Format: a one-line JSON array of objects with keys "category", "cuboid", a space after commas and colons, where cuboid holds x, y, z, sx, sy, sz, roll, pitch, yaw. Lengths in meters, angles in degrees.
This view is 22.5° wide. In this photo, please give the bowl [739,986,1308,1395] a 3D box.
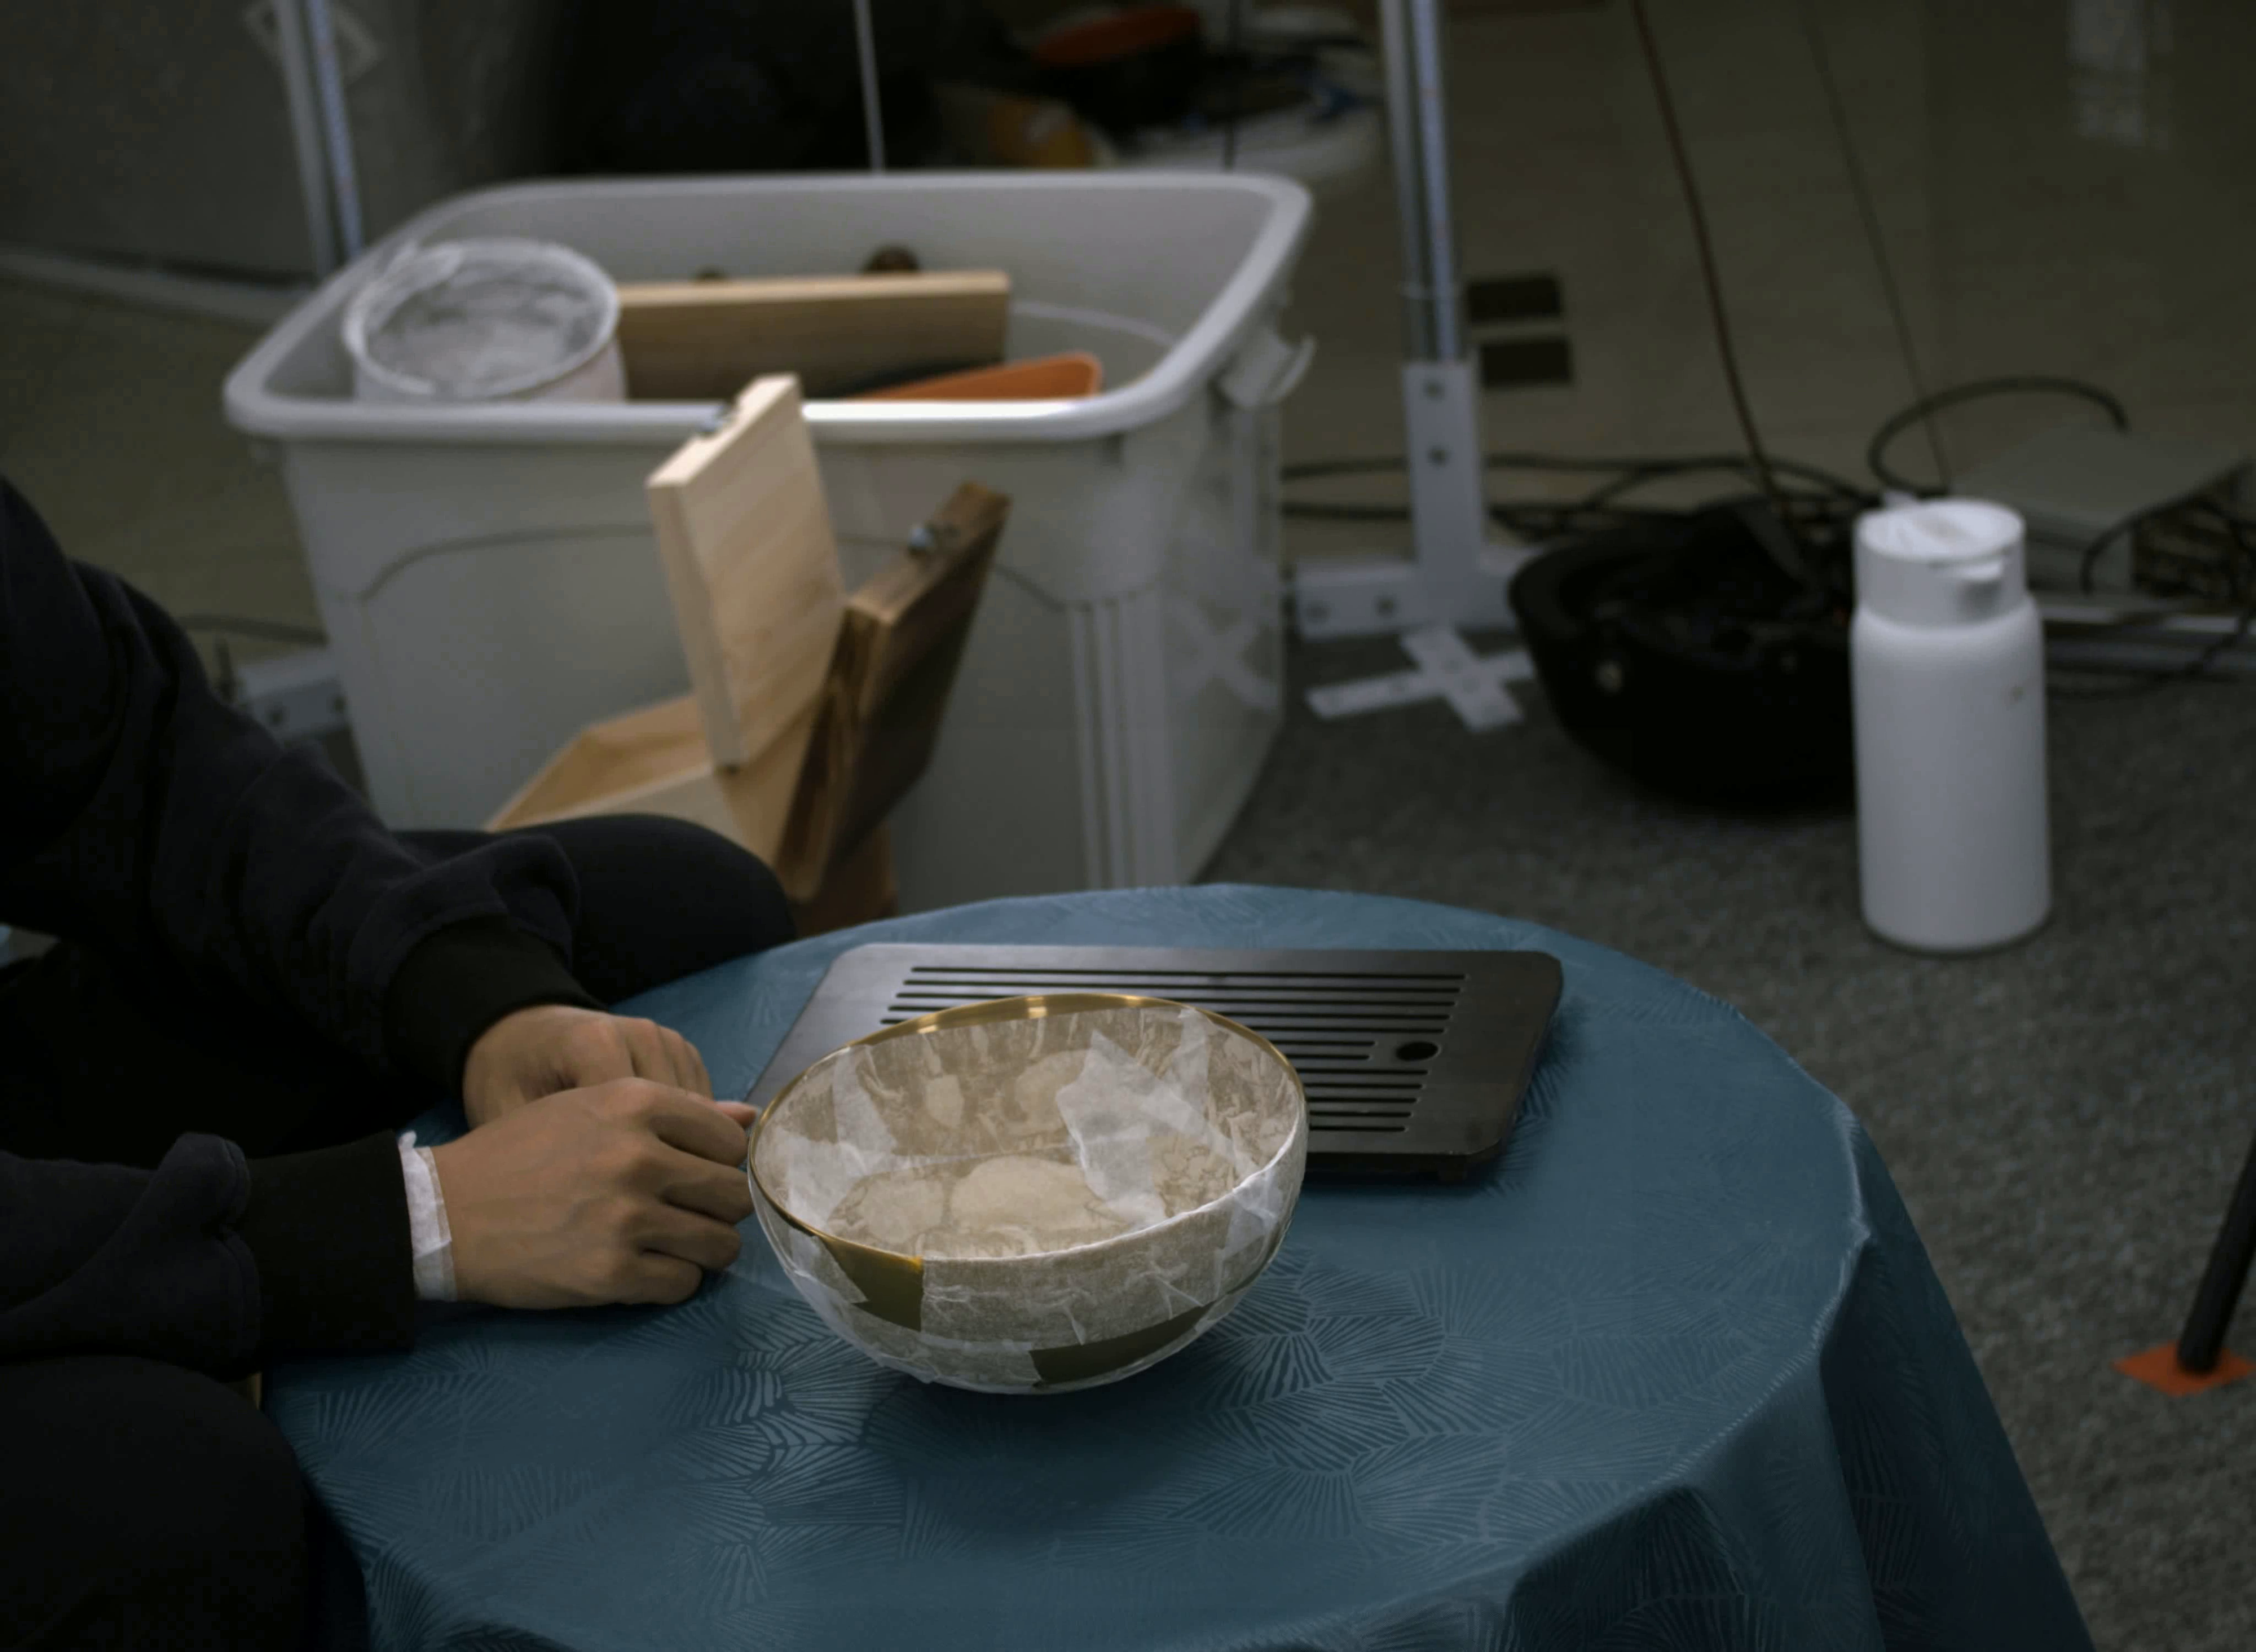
[{"category": "bowl", "cuboid": [-0.032, 0.142, 2.041, 0.214, 0.096, 0.211, -5, 26, 3]}]

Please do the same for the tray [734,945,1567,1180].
[{"category": "tray", "cuboid": [0.011, 0.092, 2.230, 0.305, 0.019, 0.168, 0, 26, 15]}]
